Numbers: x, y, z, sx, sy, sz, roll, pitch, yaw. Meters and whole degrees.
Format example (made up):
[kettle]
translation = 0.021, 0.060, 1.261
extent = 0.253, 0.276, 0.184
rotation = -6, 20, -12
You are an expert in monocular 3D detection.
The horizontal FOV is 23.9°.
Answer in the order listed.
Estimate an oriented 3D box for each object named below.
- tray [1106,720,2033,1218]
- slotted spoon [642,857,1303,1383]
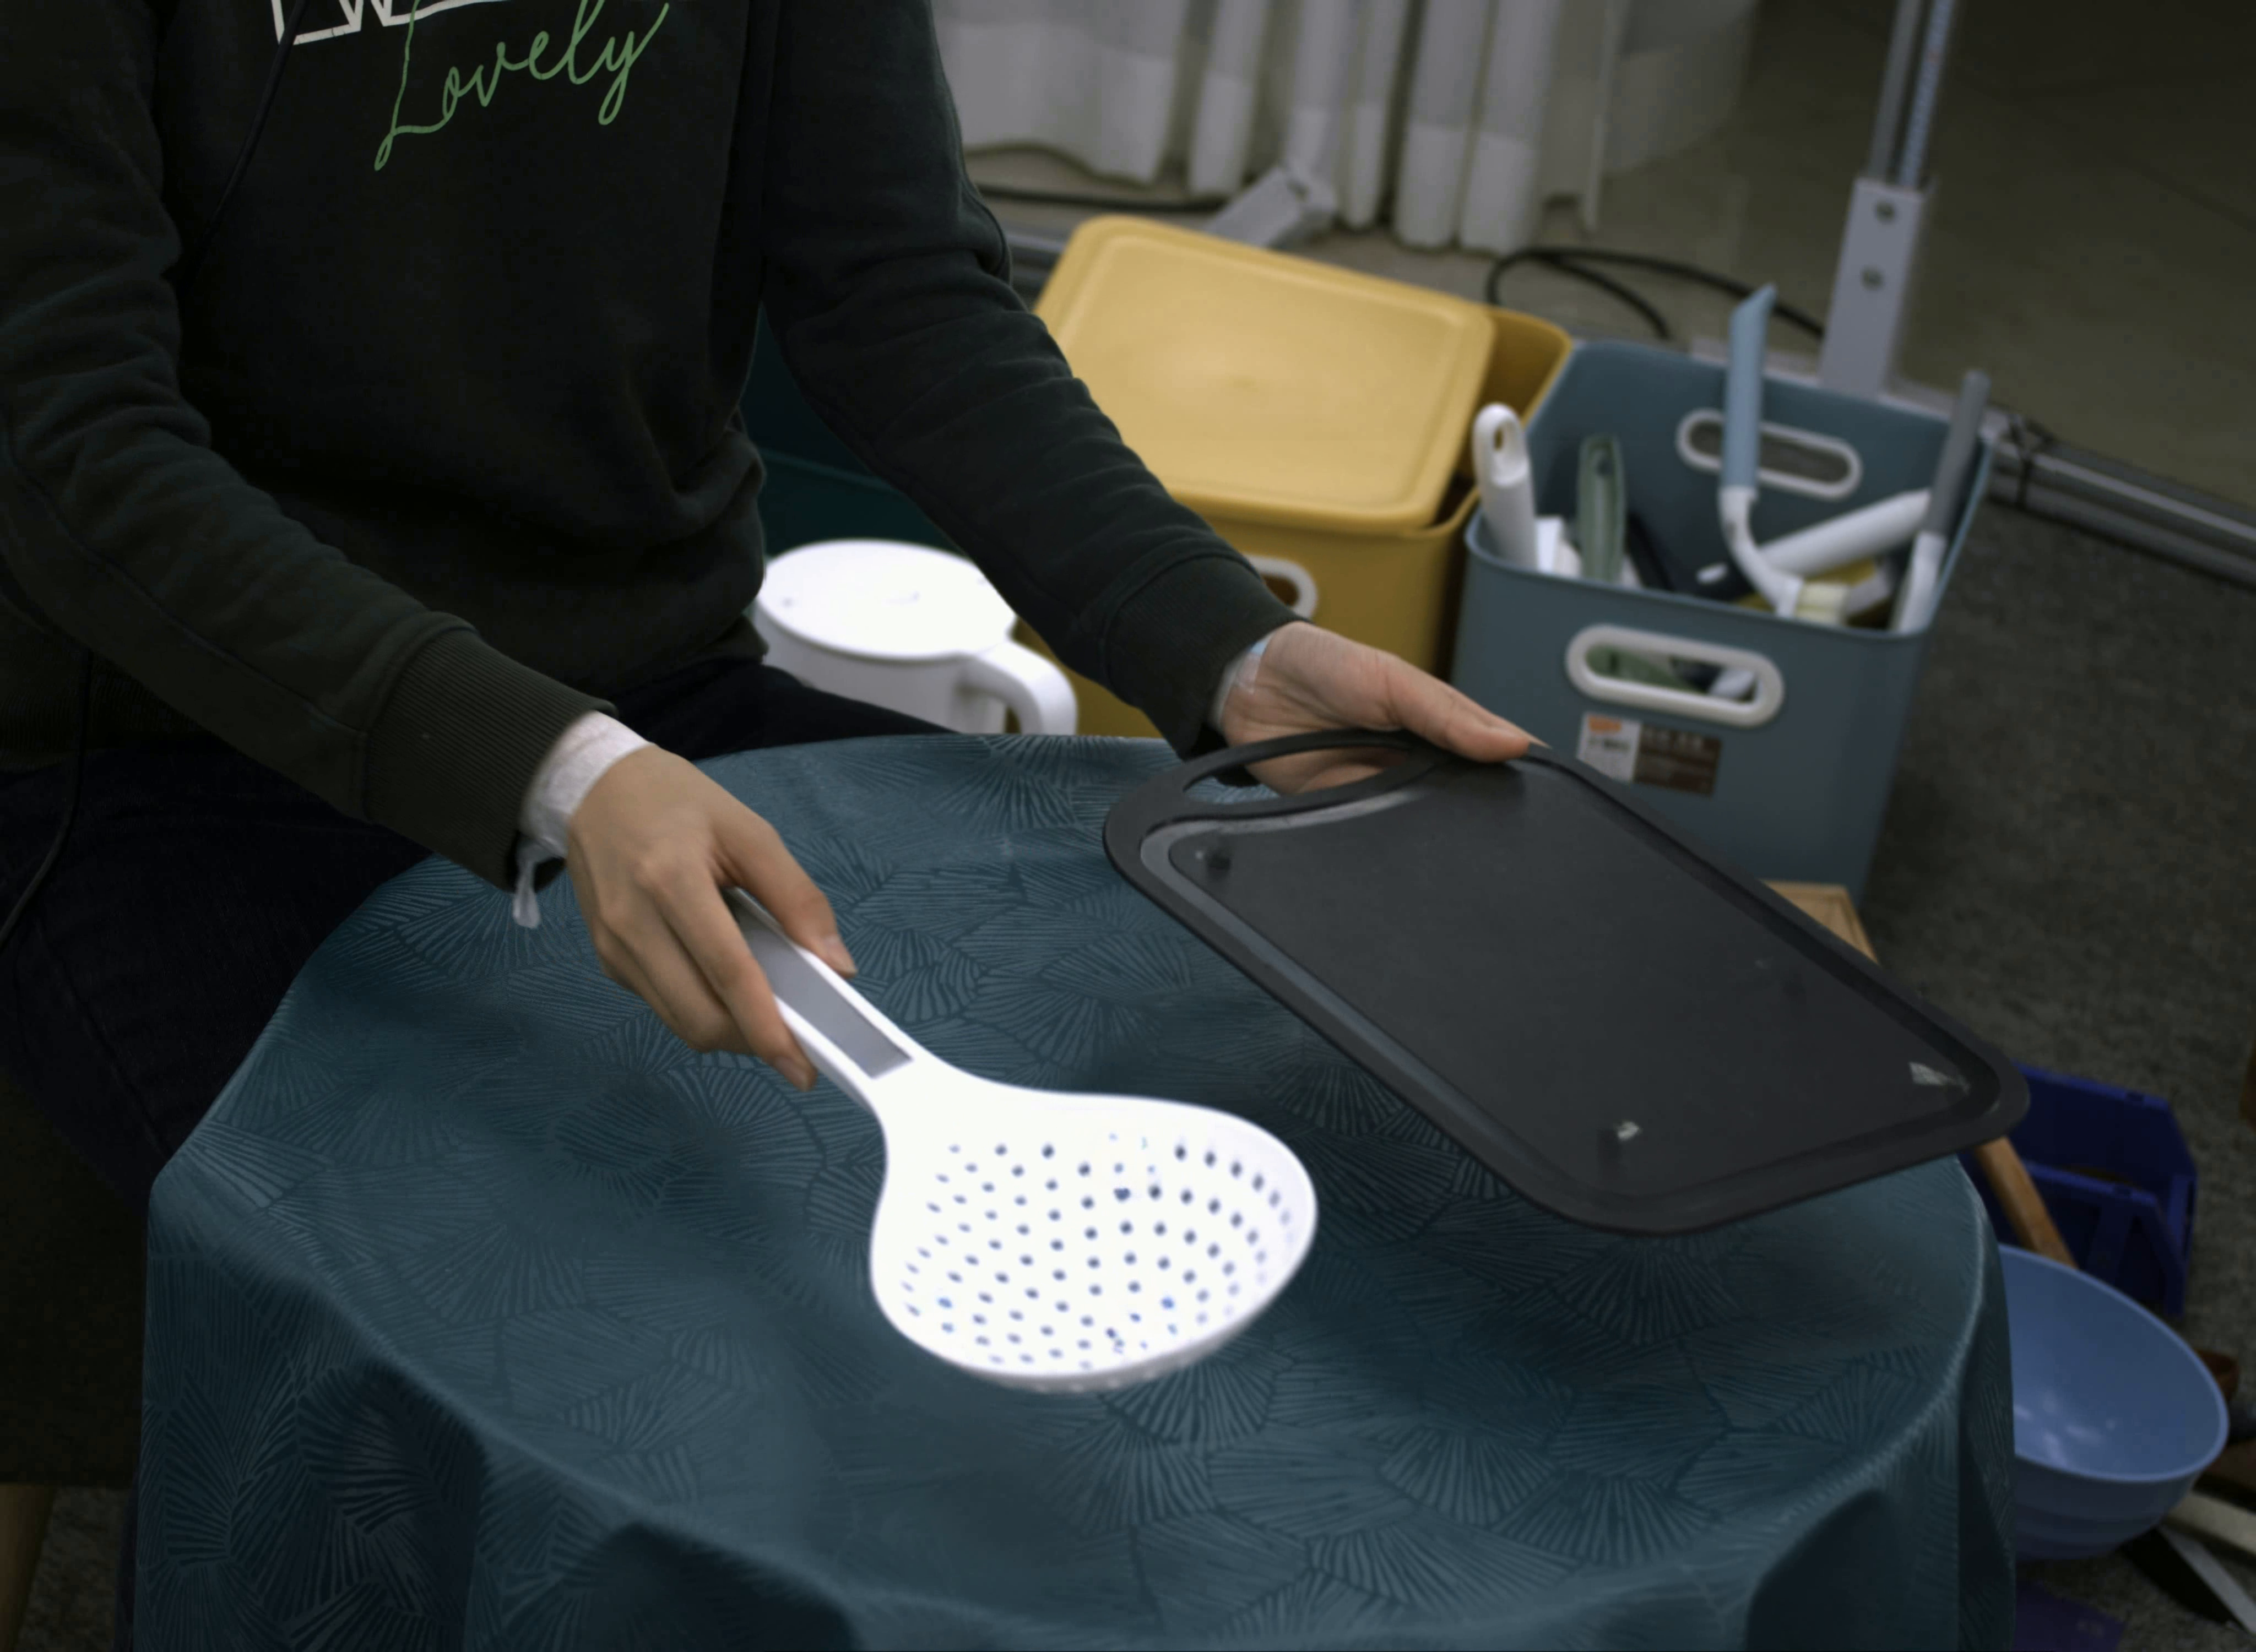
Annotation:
[tray]
translation = 0.140, 0.039, 1.808
extent = 0.210, 0.010, 0.328
rotation = -12, 33, -32
[slotted spoon]
translation = -0.068, 0.085, 1.686
extent = 0.135, 0.045, 0.353
rotation = -24, 38, -21
